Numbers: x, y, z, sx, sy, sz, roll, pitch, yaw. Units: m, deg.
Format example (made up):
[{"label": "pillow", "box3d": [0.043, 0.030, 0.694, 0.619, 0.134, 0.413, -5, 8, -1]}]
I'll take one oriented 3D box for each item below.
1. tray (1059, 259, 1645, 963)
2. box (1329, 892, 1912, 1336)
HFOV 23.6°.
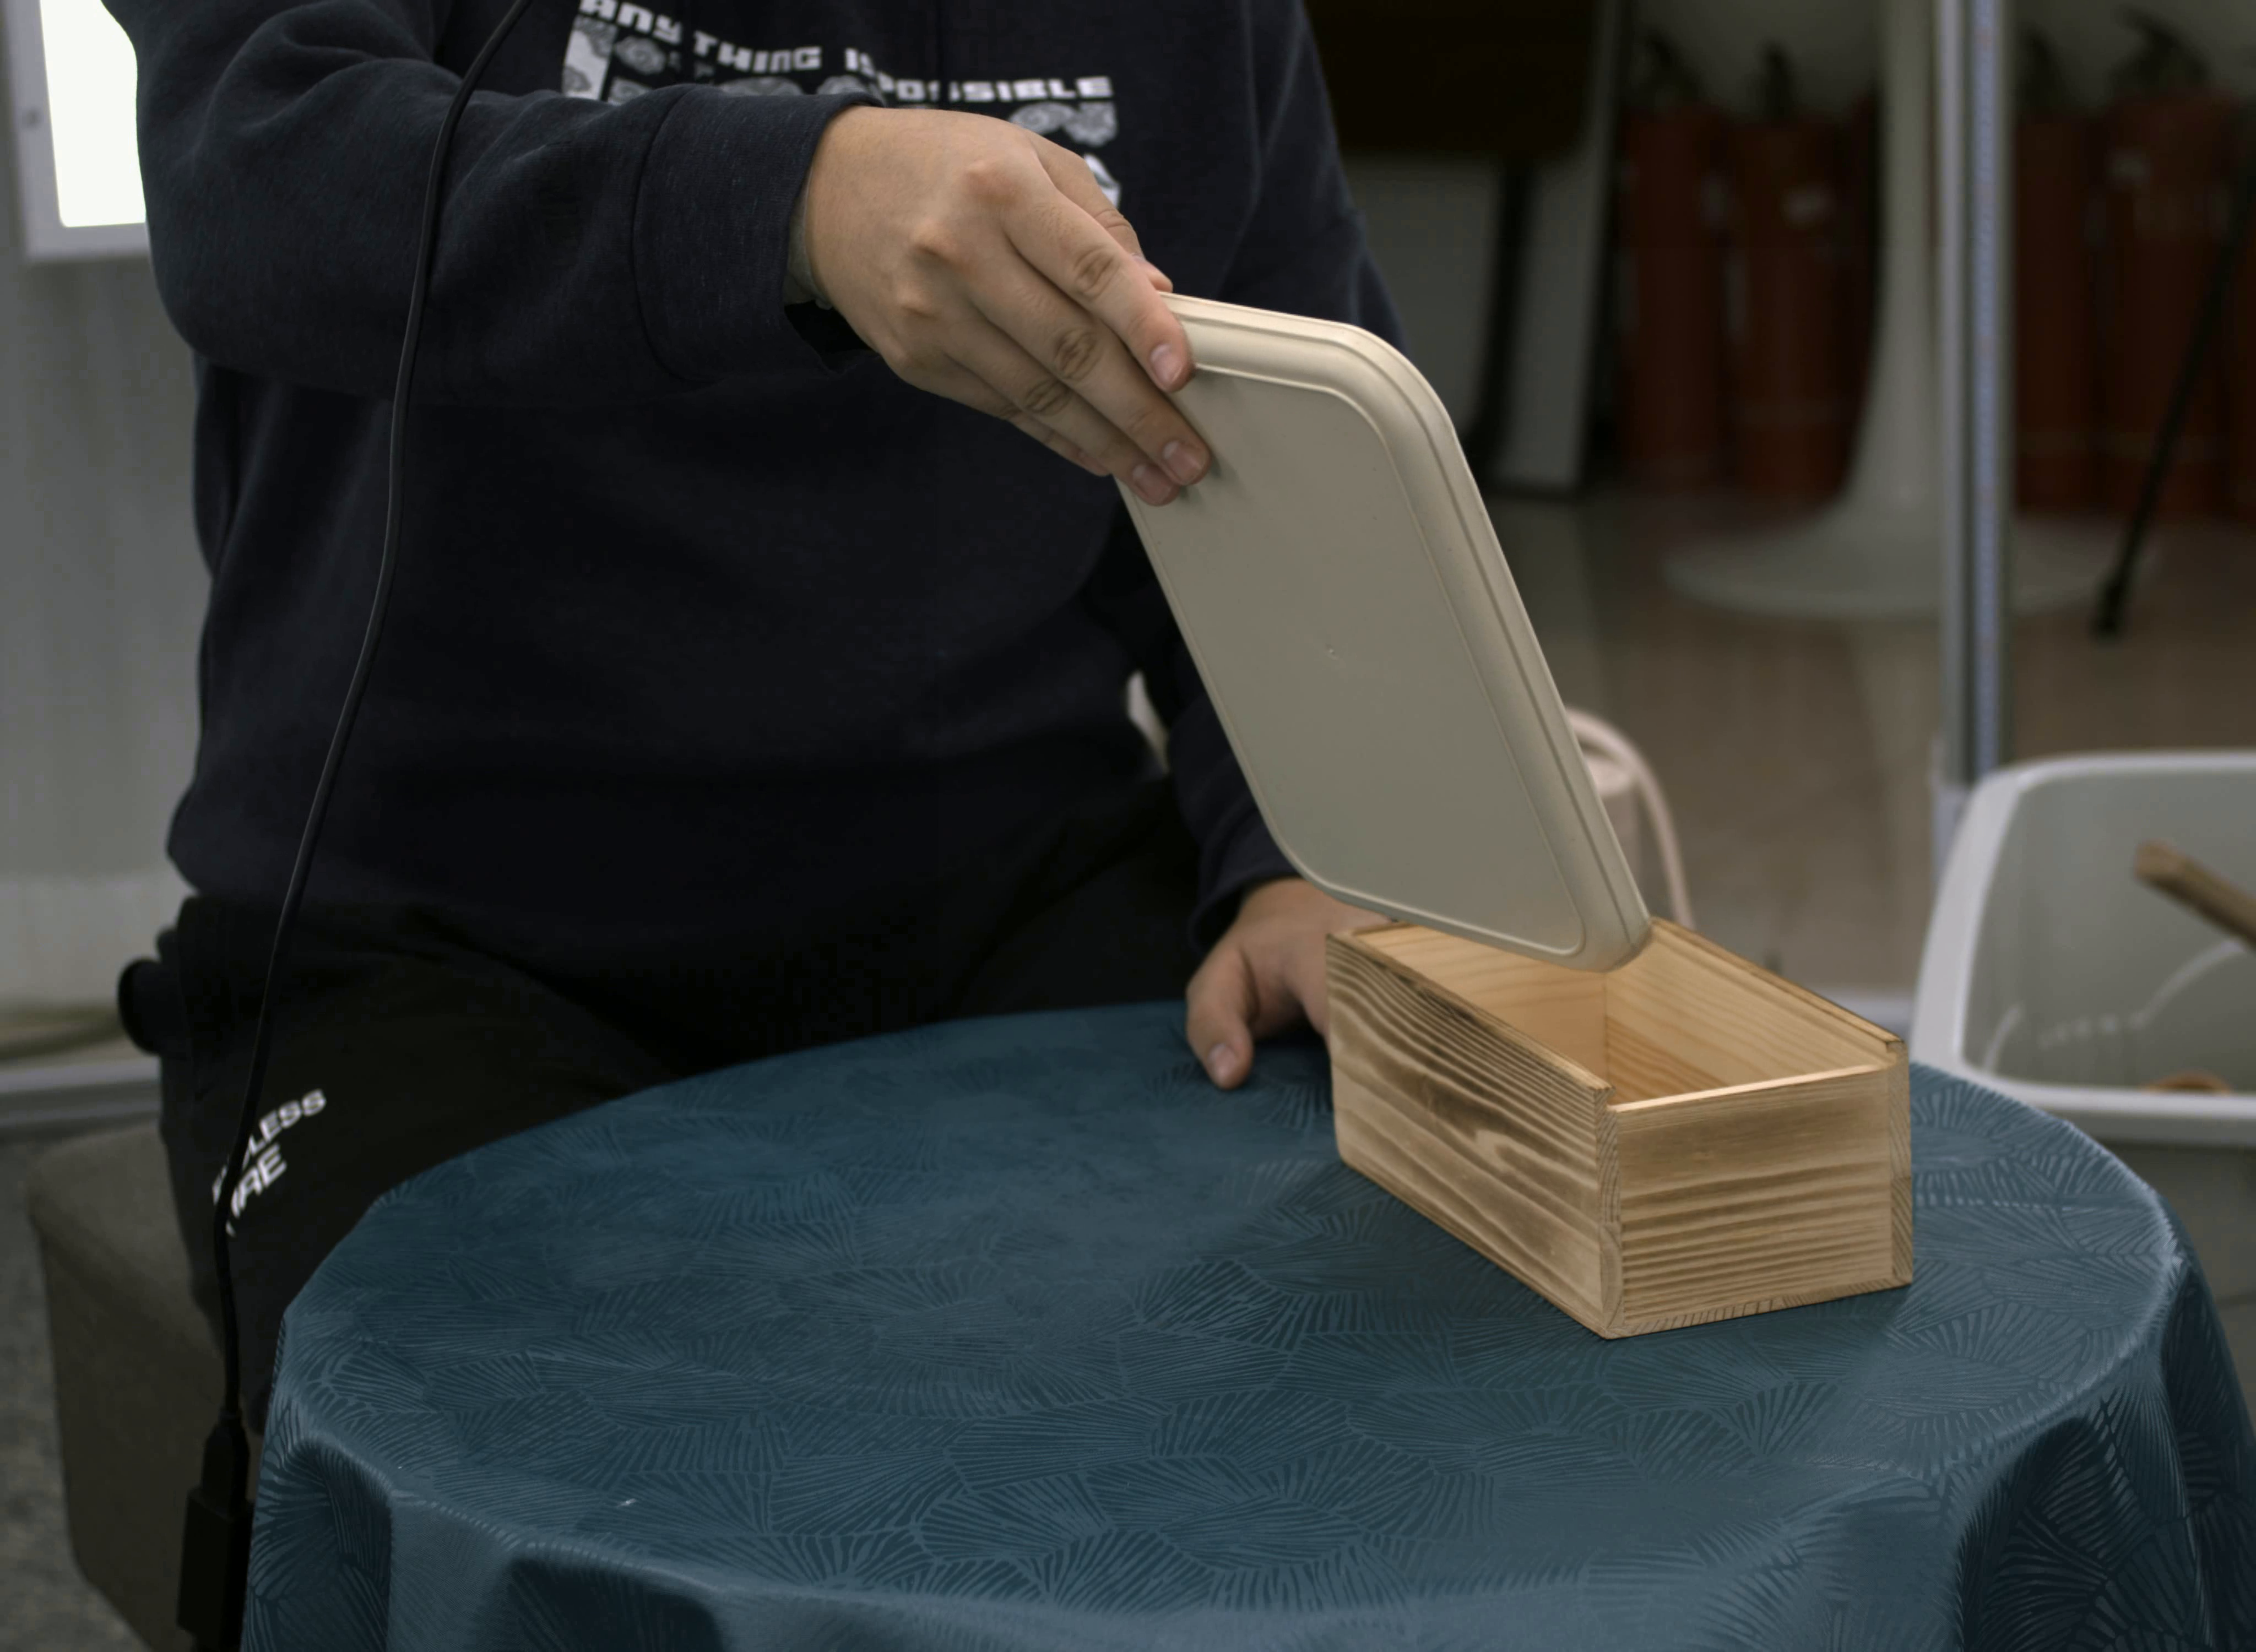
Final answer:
[{"label": "tray", "box3d": [0.066, -0.062, 1.649, 0.017, 0.239, 0.173, -39, 32, -26]}, {"label": "box", "box3d": [0.152, 0.086, 1.705, 0.105, 0.081, 0.213, -8, 14, -19]}]
